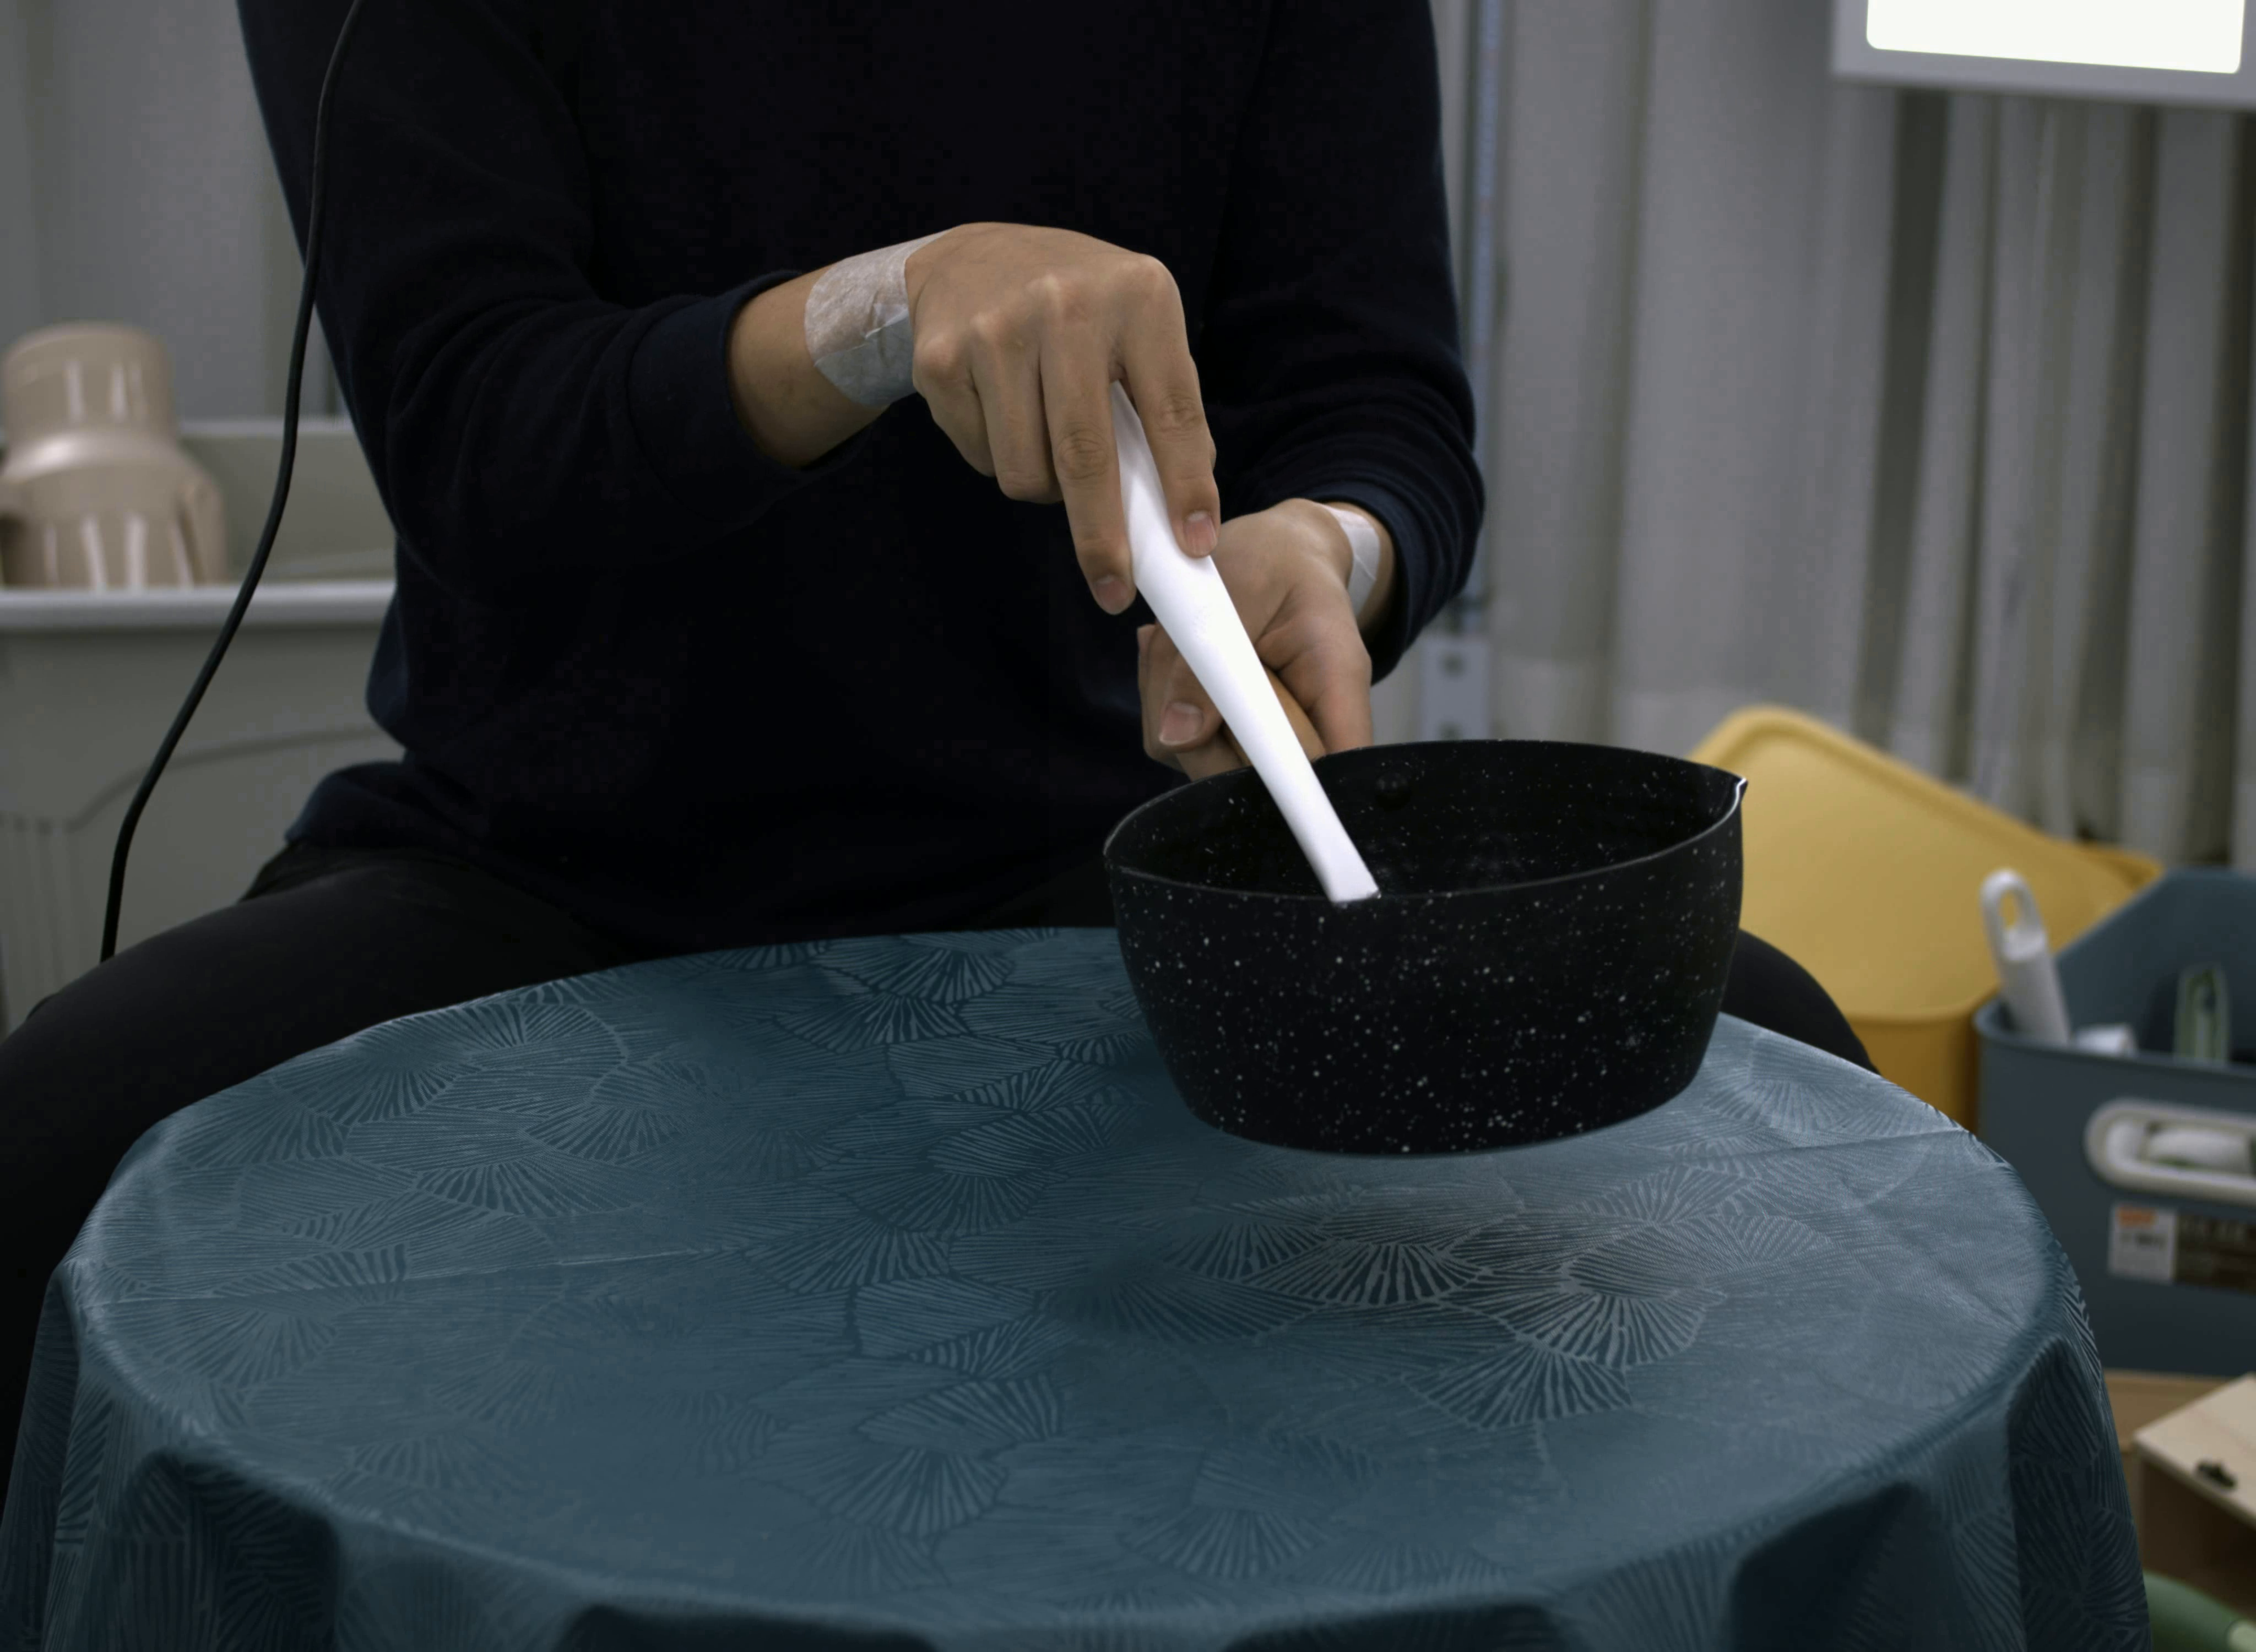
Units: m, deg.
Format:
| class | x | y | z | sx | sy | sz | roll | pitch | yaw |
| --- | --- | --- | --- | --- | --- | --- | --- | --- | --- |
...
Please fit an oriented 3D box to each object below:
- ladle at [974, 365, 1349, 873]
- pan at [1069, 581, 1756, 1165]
| class | x | y | z | sx | sy | sz | roll | pitch | yaw |
| --- | --- | --- | --- | --- | --- | --- | --- | --- | --- |
| ladle | 0.033 | -0.036 | 1.591 | 0.090 | 0.070 | 0.290 | -25 | 63 | -14 |
| pan | 0.067 | 0.008 | 1.613 | 0.207 | 0.109 | 0.339 | -10 | 16 | -15 |
